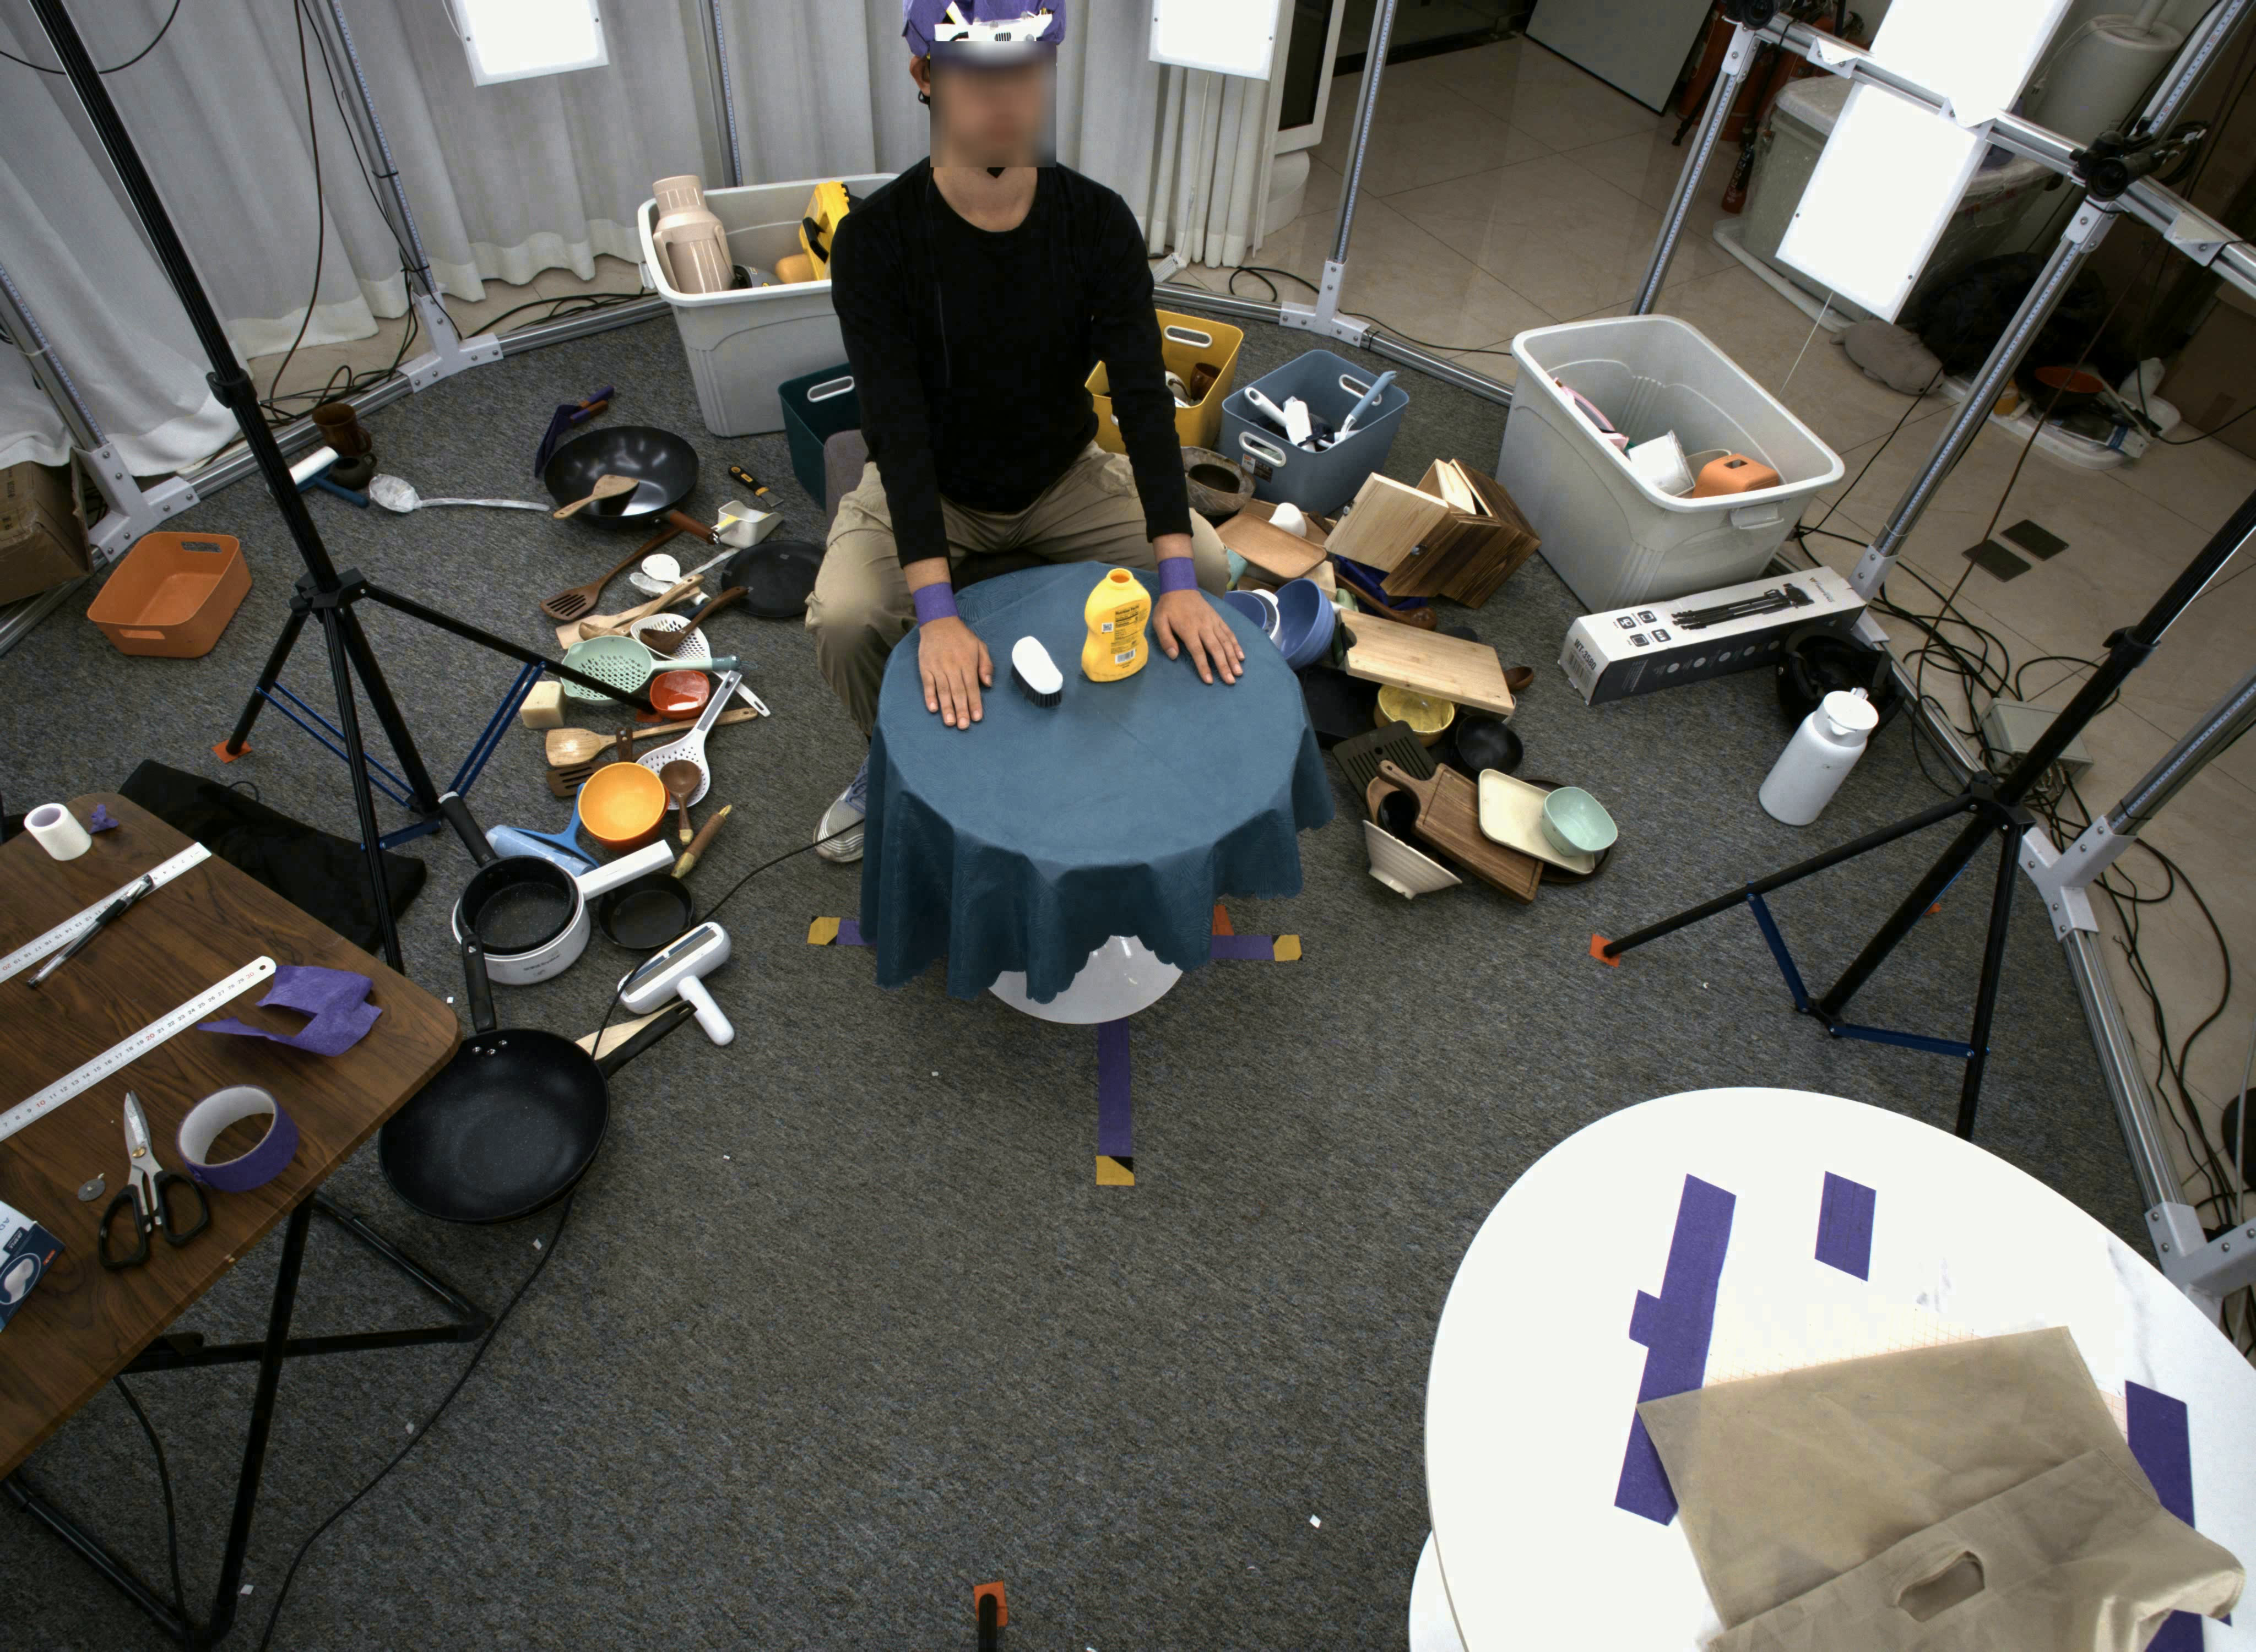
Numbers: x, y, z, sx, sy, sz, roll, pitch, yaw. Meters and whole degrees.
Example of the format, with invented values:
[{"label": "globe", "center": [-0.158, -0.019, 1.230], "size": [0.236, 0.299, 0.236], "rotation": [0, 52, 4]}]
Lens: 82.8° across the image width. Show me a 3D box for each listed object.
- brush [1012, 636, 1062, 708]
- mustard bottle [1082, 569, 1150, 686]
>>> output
[{"label": "brush", "center": [-0.128, -0.225, 1.804], "size": [0.050, 0.071, 0.101], "rotation": [-20, 55, -22]}, {"label": "mustard bottle", "center": [-0.017, -0.280, 1.801], "size": [0.098, 0.168, 0.060], "rotation": [-24, 51, -22]}]
